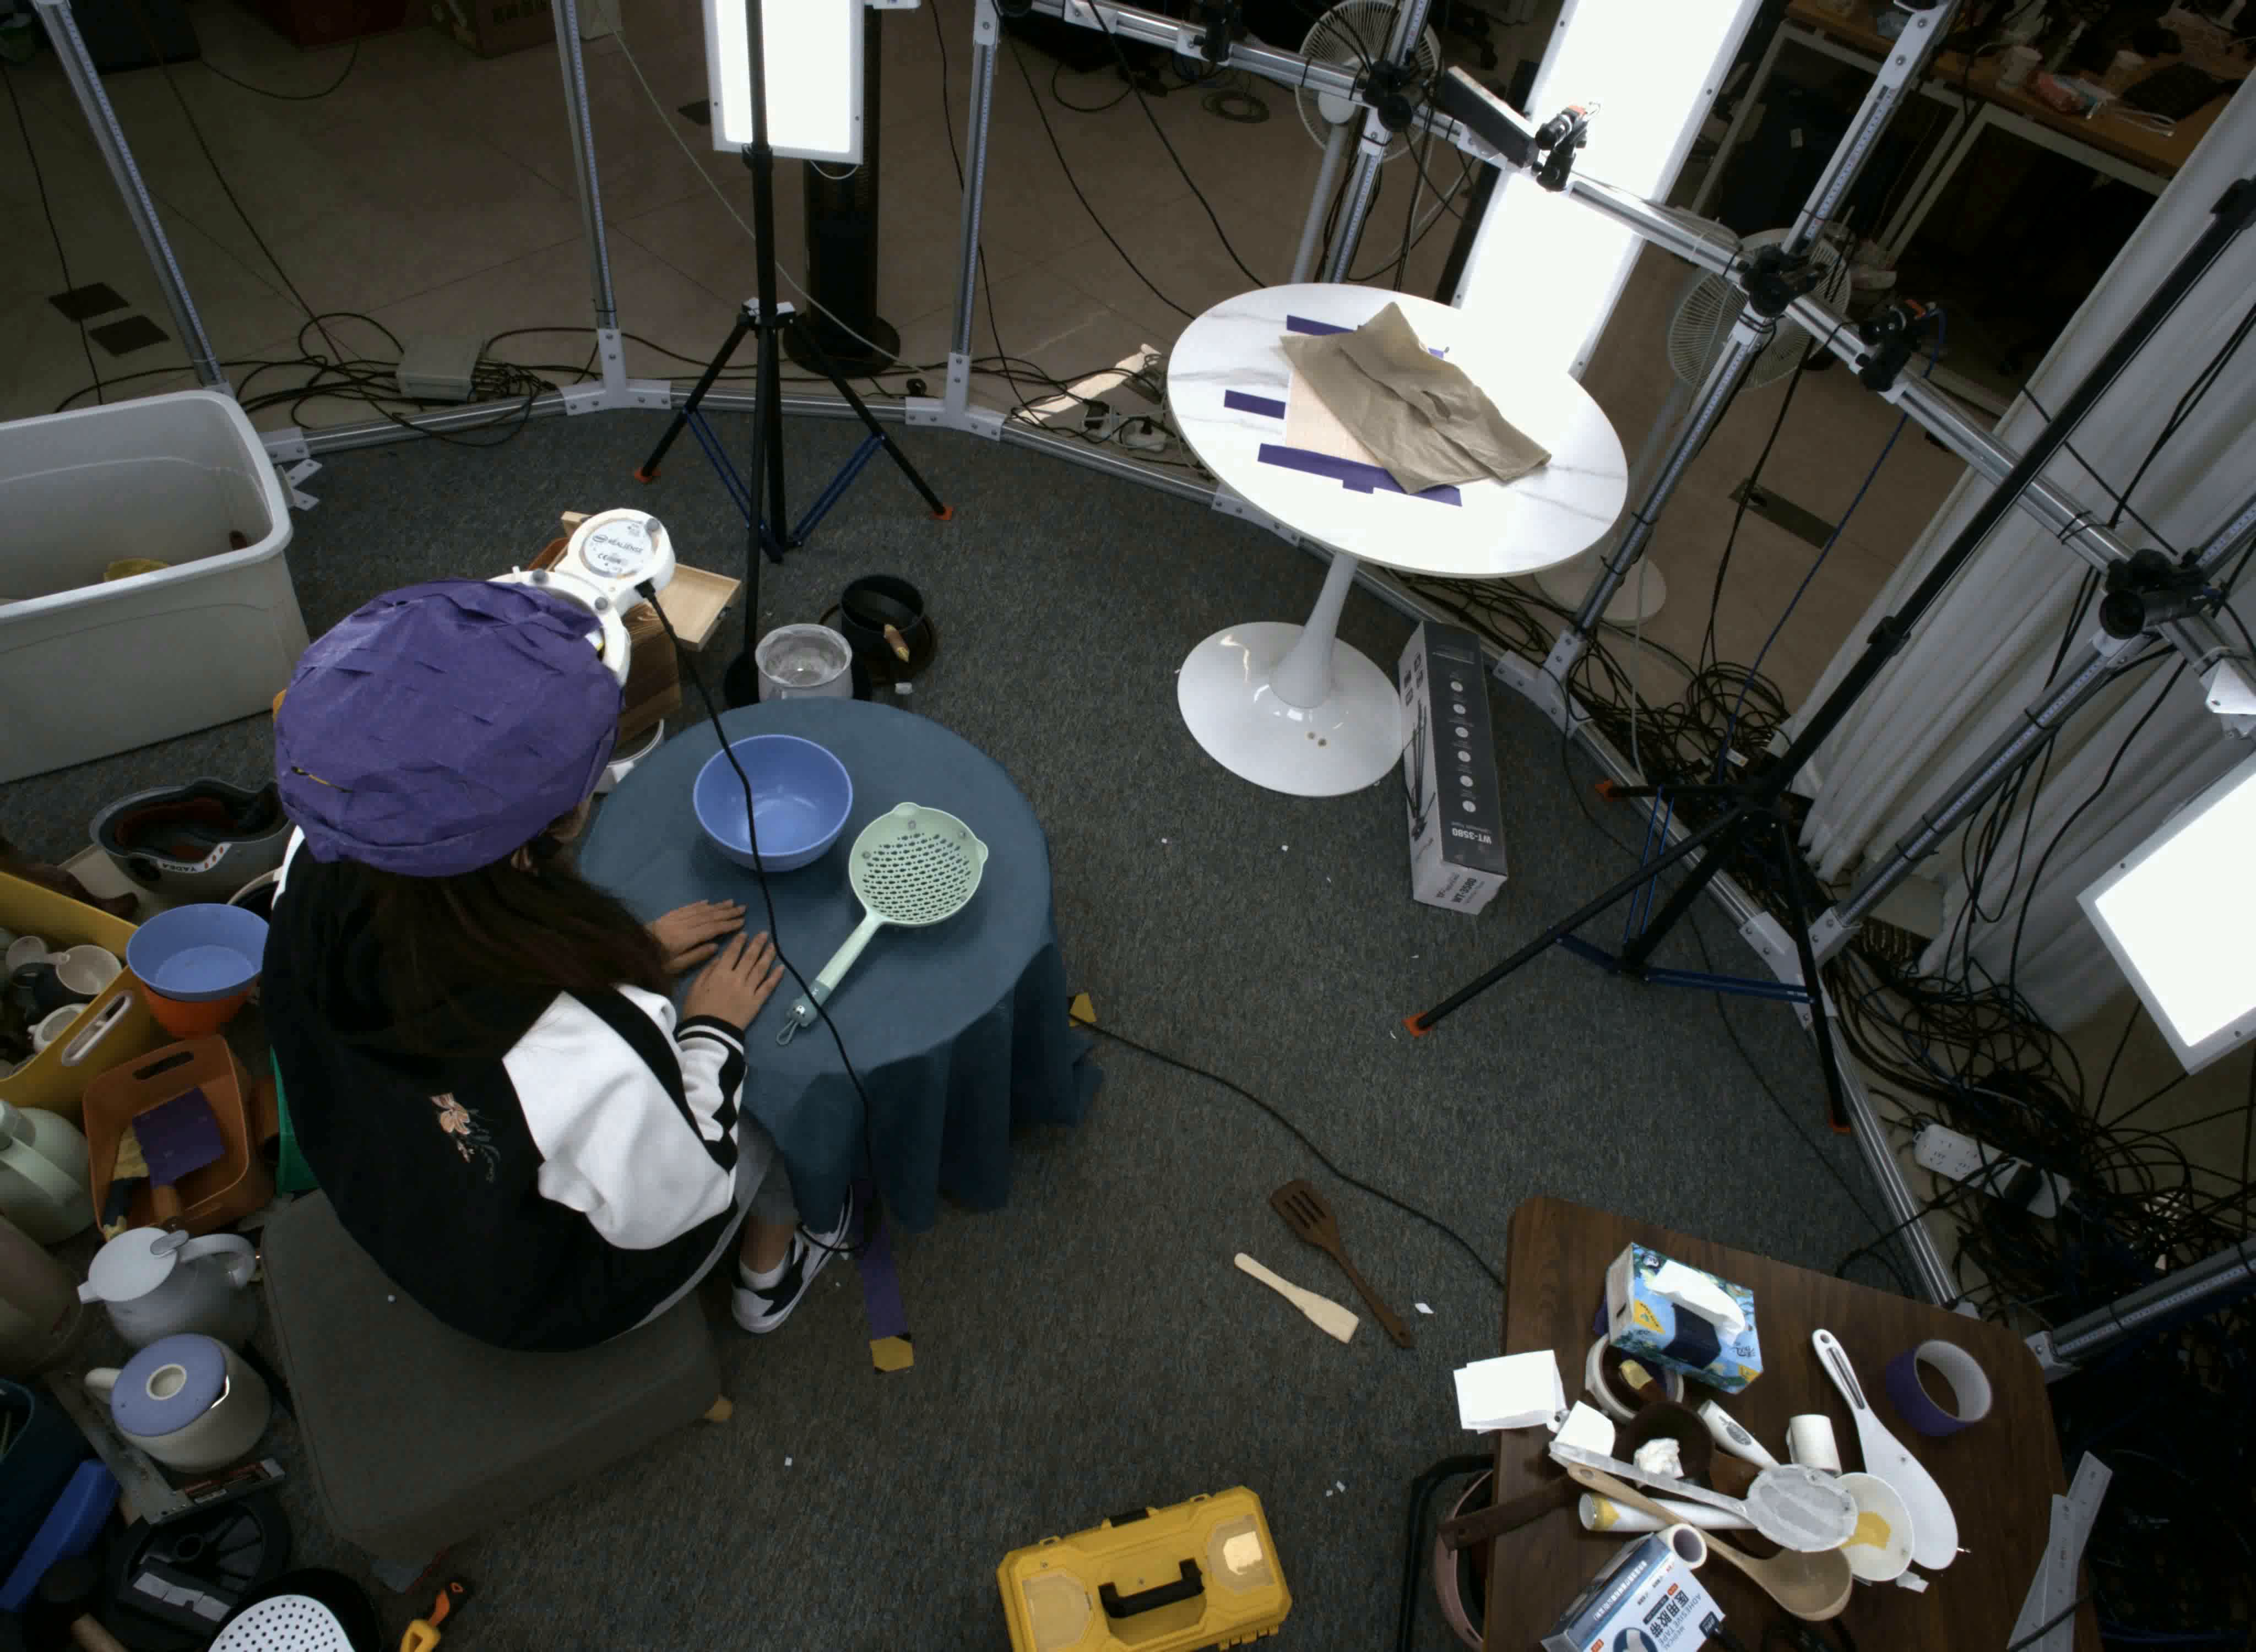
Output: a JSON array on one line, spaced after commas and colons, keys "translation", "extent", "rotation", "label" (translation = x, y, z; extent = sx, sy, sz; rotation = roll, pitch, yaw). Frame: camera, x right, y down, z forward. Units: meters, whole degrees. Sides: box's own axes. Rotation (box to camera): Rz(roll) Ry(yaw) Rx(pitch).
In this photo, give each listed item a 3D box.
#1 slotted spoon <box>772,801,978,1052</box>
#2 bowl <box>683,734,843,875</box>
[{"translation": [-0.329, 0.124, 1.614], "extent": [0.166, 0.077, 0.357], "rotation": [29, 54, 9], "label": "slotted spoon"}, {"translation": [-0.464, -0.012, 1.658], "extent": [0.196, 0.097, 0.193], "rotation": [8, 53, -9], "label": "bowl"}]
